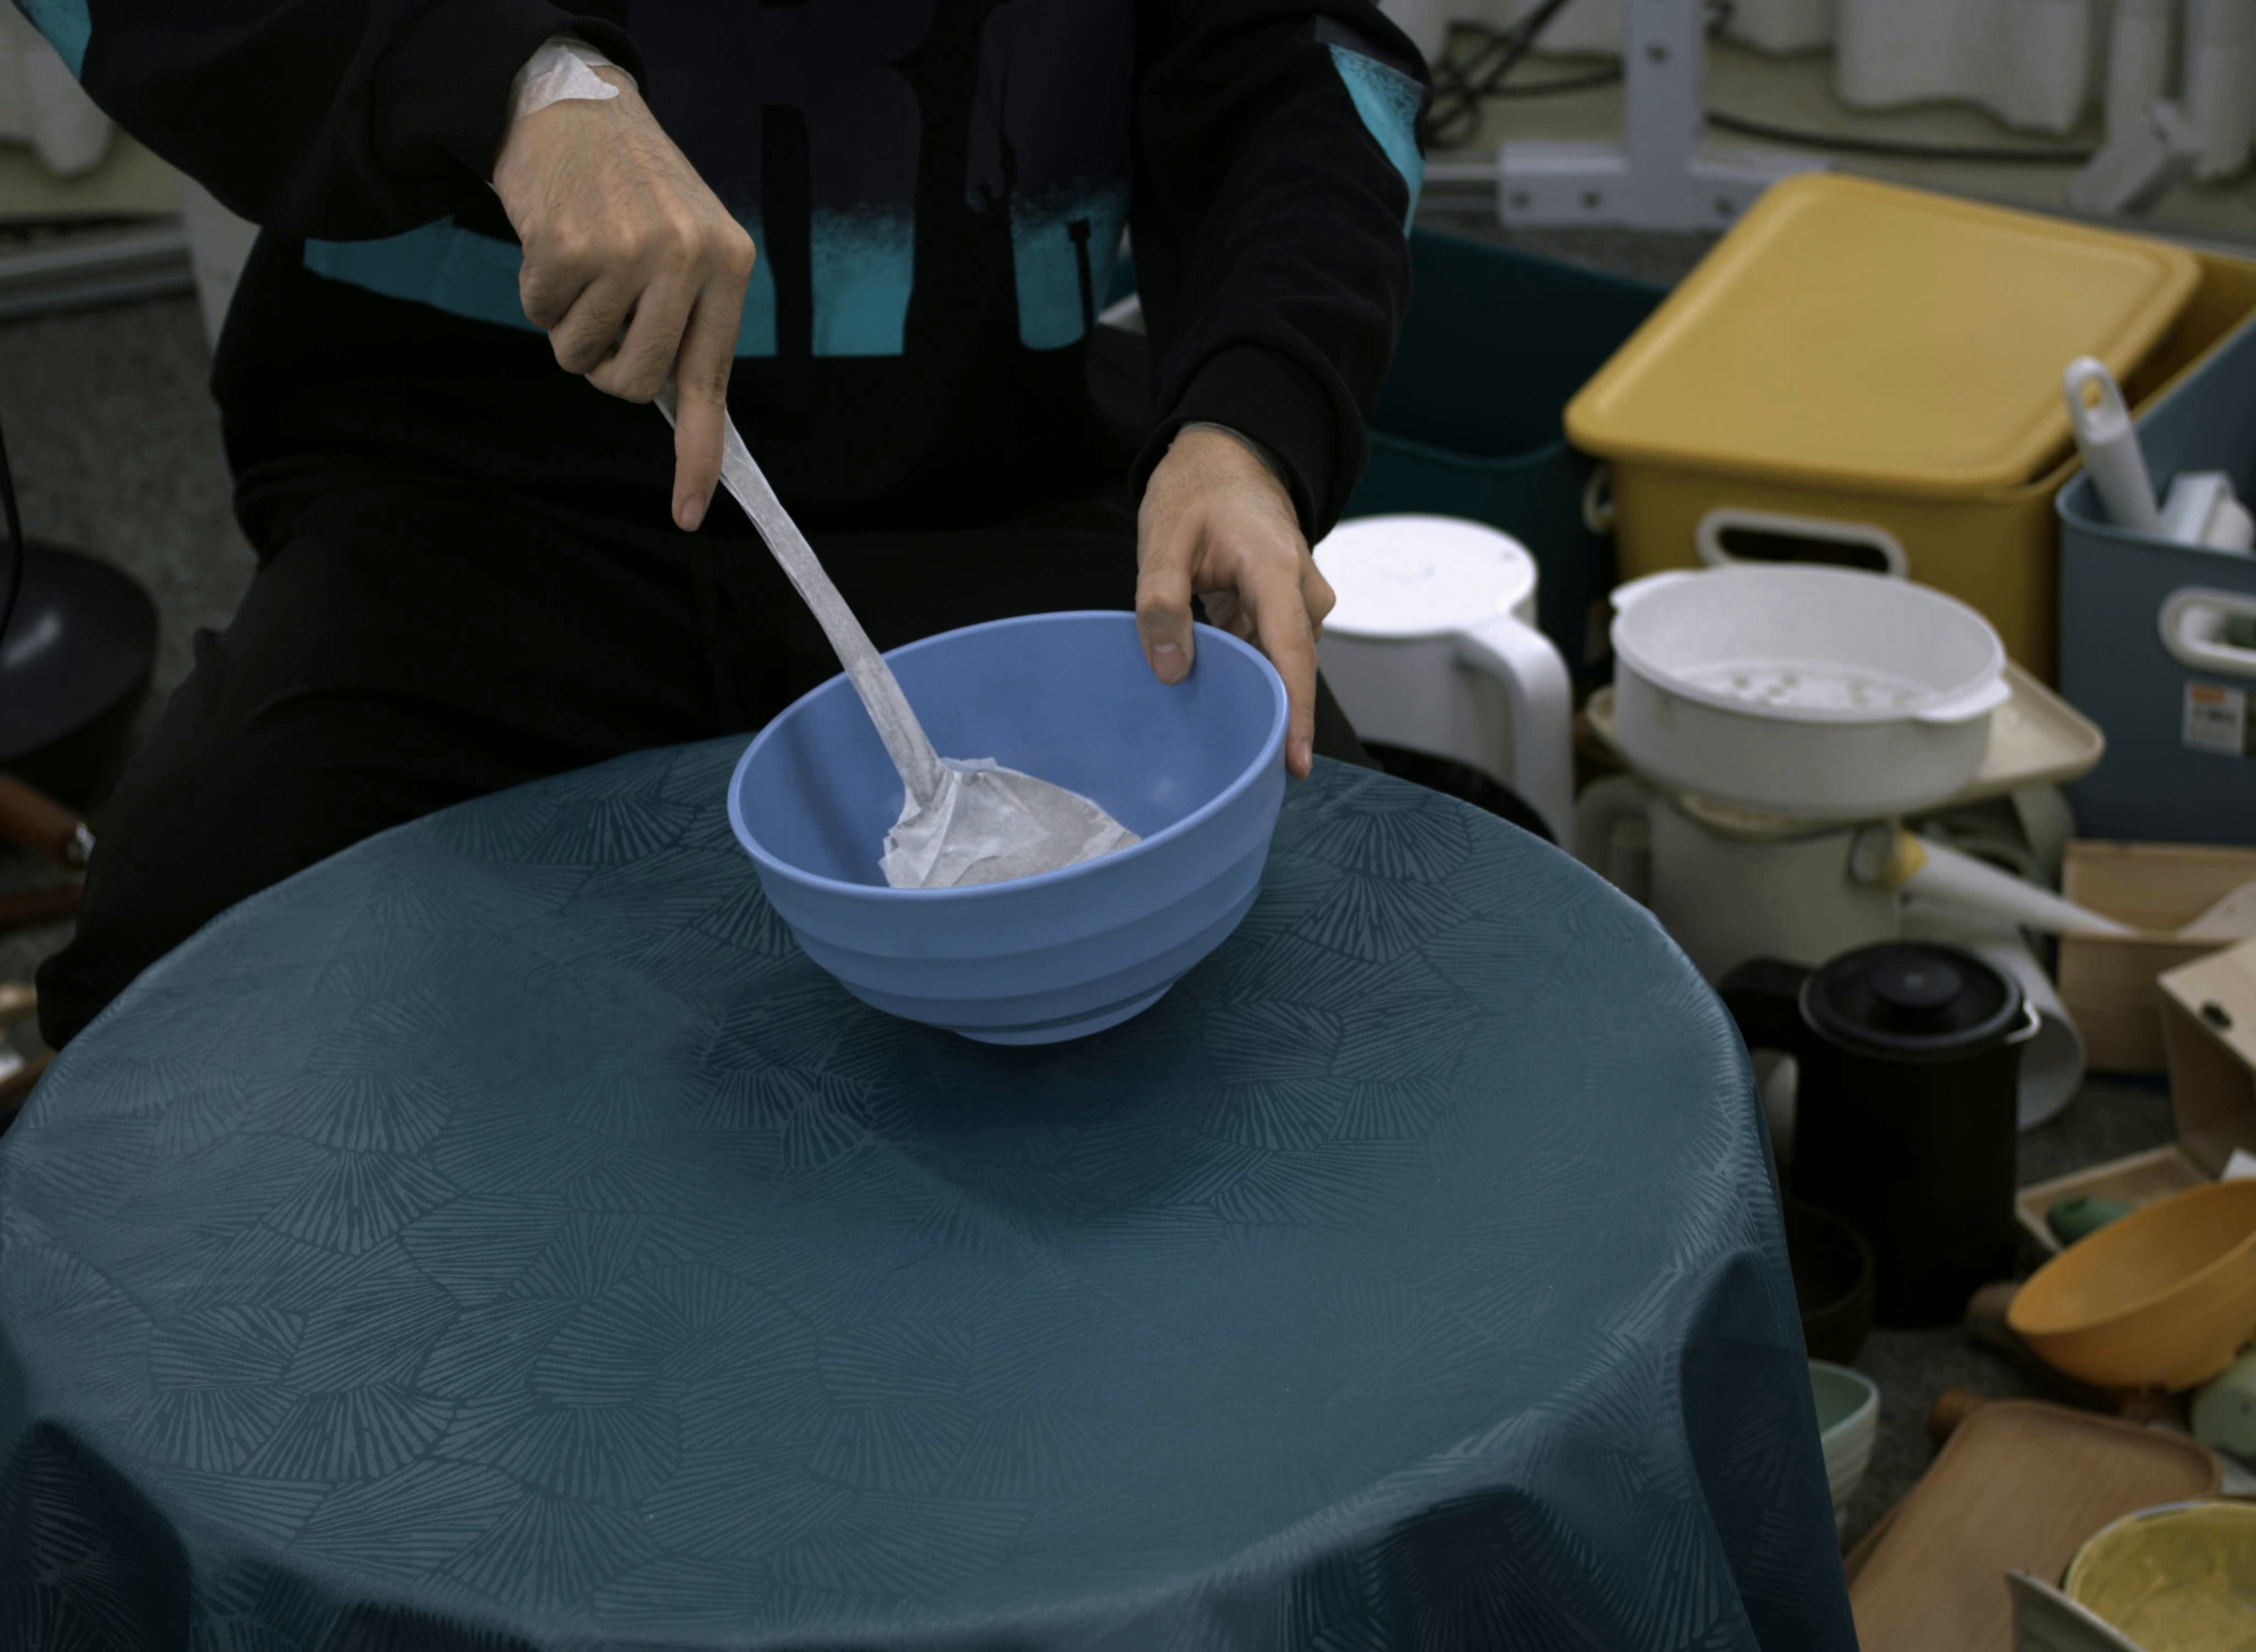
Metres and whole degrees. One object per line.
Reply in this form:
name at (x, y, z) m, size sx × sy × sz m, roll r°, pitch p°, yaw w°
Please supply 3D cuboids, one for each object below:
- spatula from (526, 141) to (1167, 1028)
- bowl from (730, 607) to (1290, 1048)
spatula at (-0.105, -0.089, 1.945) m, size 0.100 × 0.366 × 0.044 m, roll -31°, pitch -4°, yaw -35°
bowl at (-0.033, 0.012, 1.945) m, size 0.195 × 0.094 × 0.199 m, roll -9°, pitch 29°, yaw 5°
